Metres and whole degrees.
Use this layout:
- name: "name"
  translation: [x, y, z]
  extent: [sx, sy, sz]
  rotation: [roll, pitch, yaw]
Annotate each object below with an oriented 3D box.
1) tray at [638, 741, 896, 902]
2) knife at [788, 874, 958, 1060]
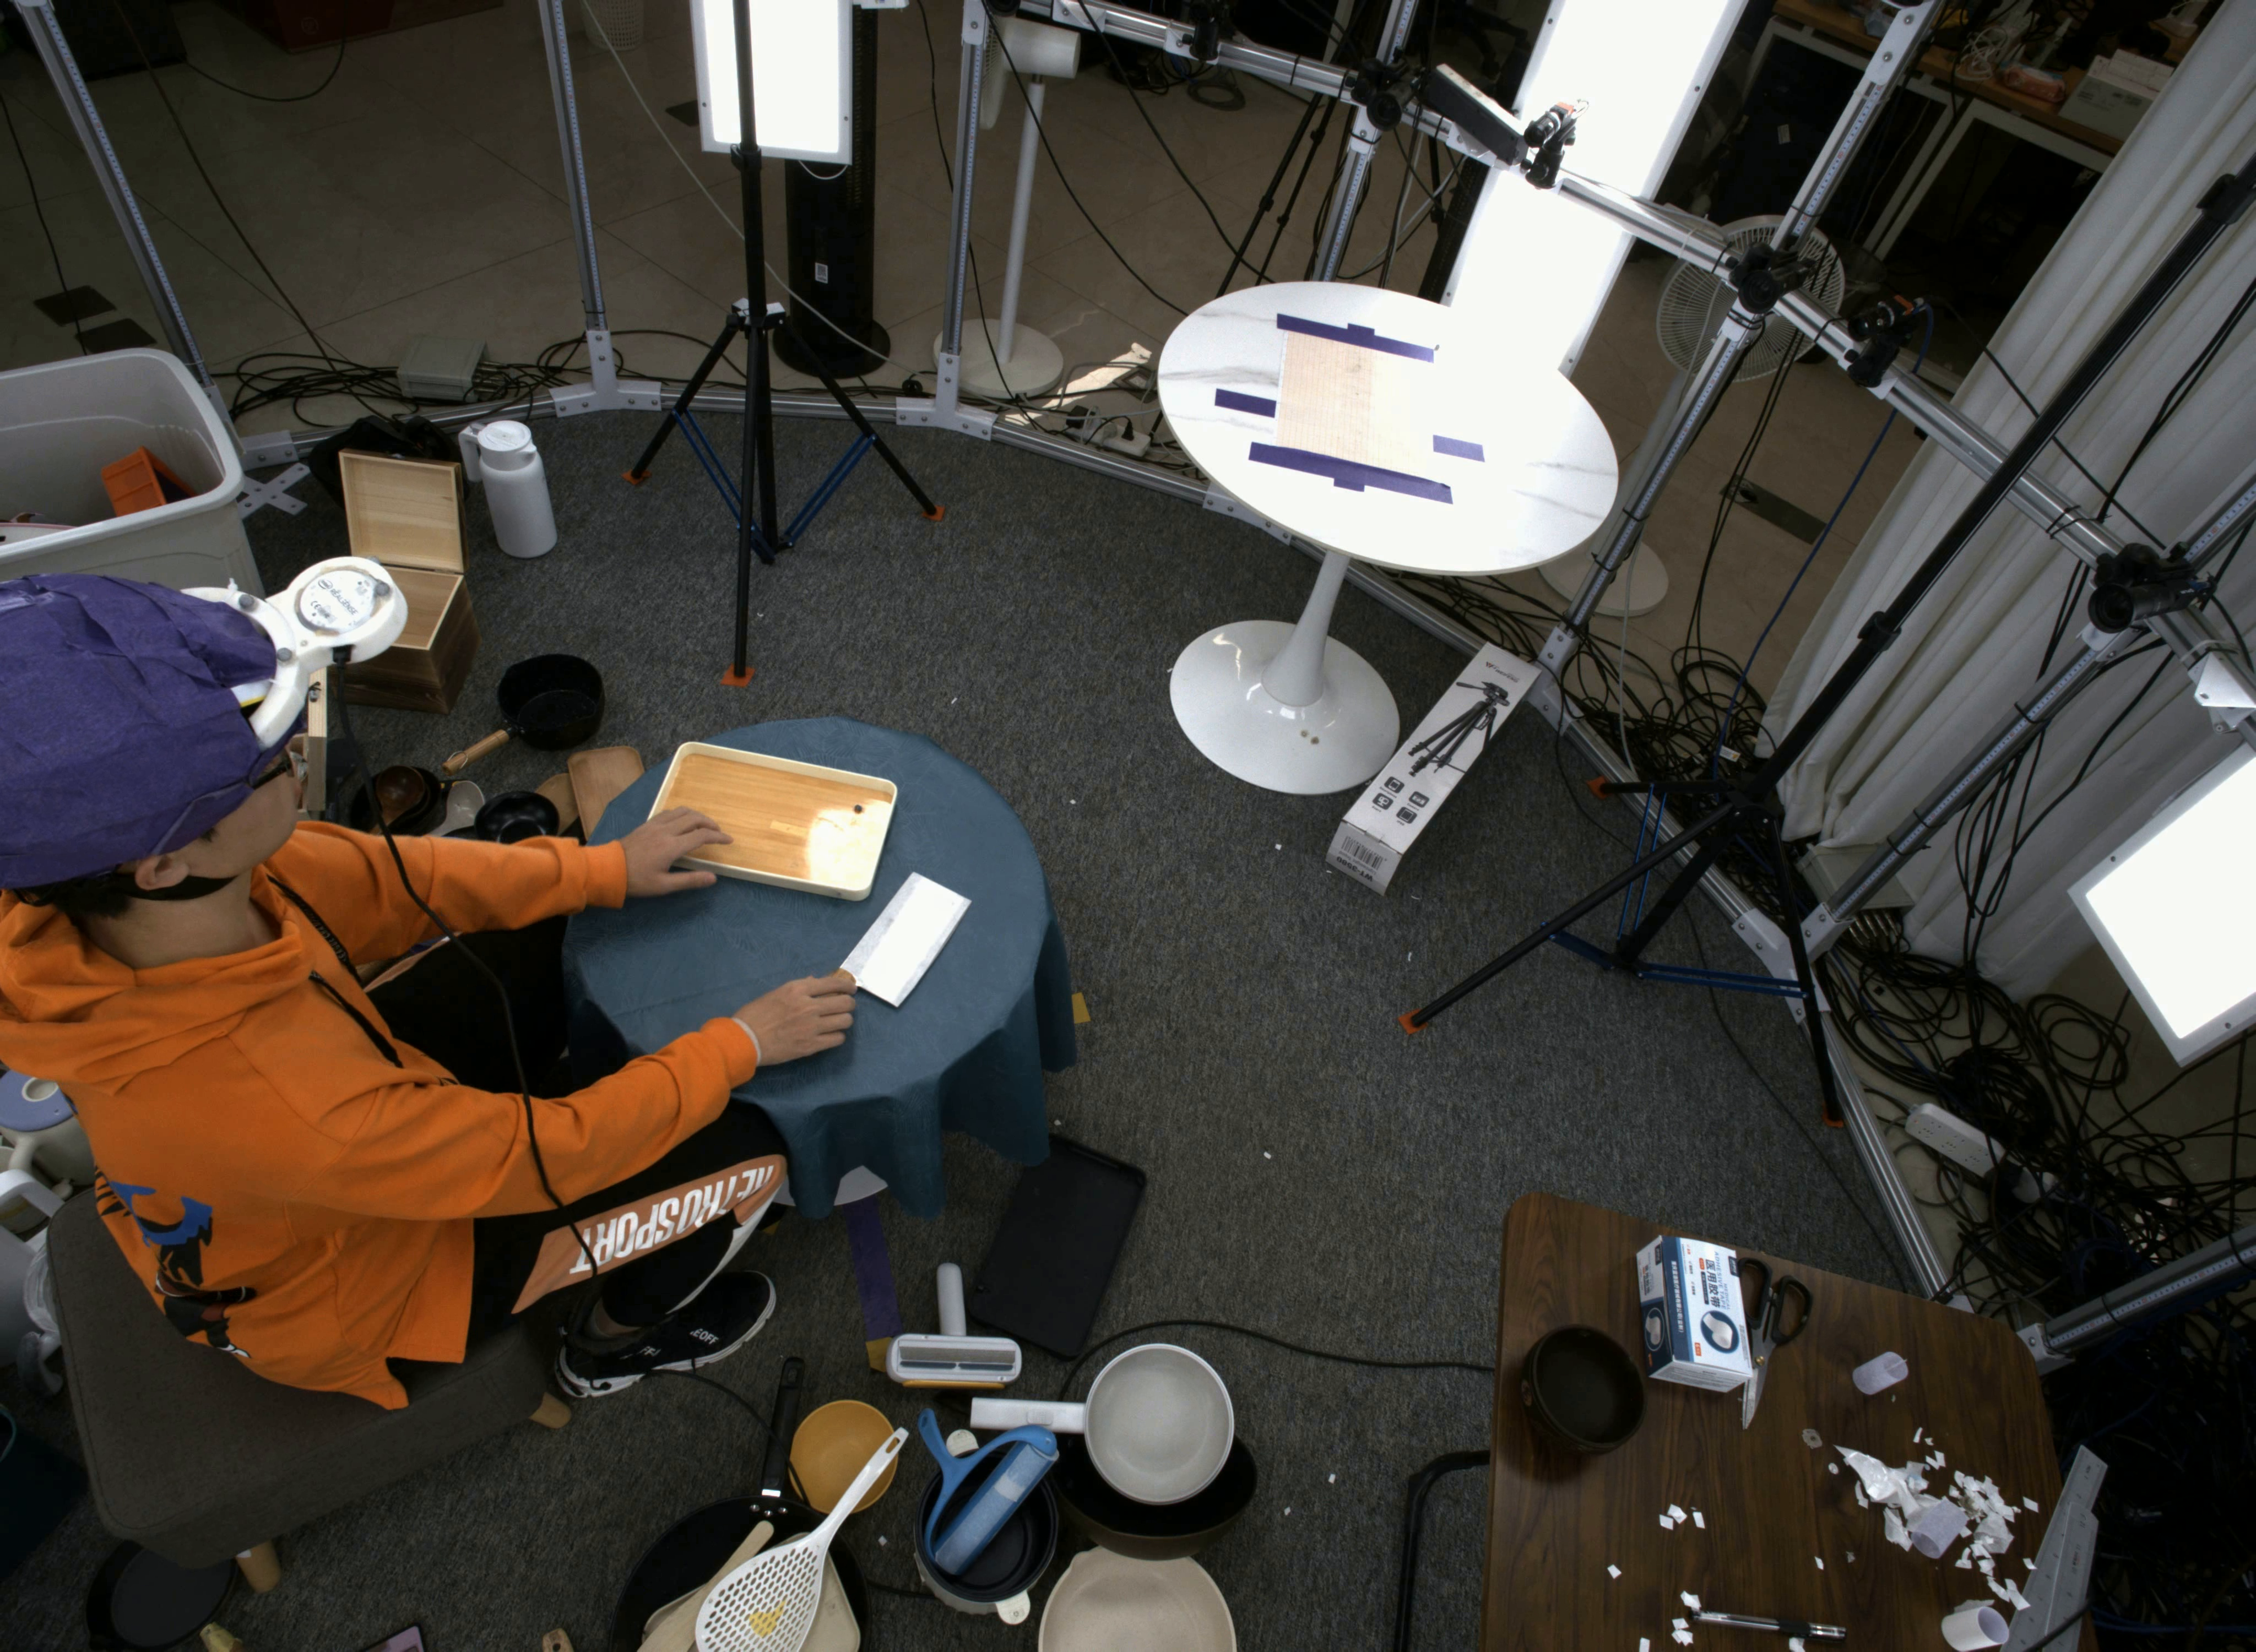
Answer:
- name: "tray"
  translation: [-0.467, -0.009, 1.691]
  extent: [0.299, 0.028, 0.188]
  rotation: [12, 52, -7]
- name: "knife"
  translation: [-0.305, 0.175, 1.605]
  extent: [0.092, 0.021, 0.304]
  rotation: [27, 49, 5]
